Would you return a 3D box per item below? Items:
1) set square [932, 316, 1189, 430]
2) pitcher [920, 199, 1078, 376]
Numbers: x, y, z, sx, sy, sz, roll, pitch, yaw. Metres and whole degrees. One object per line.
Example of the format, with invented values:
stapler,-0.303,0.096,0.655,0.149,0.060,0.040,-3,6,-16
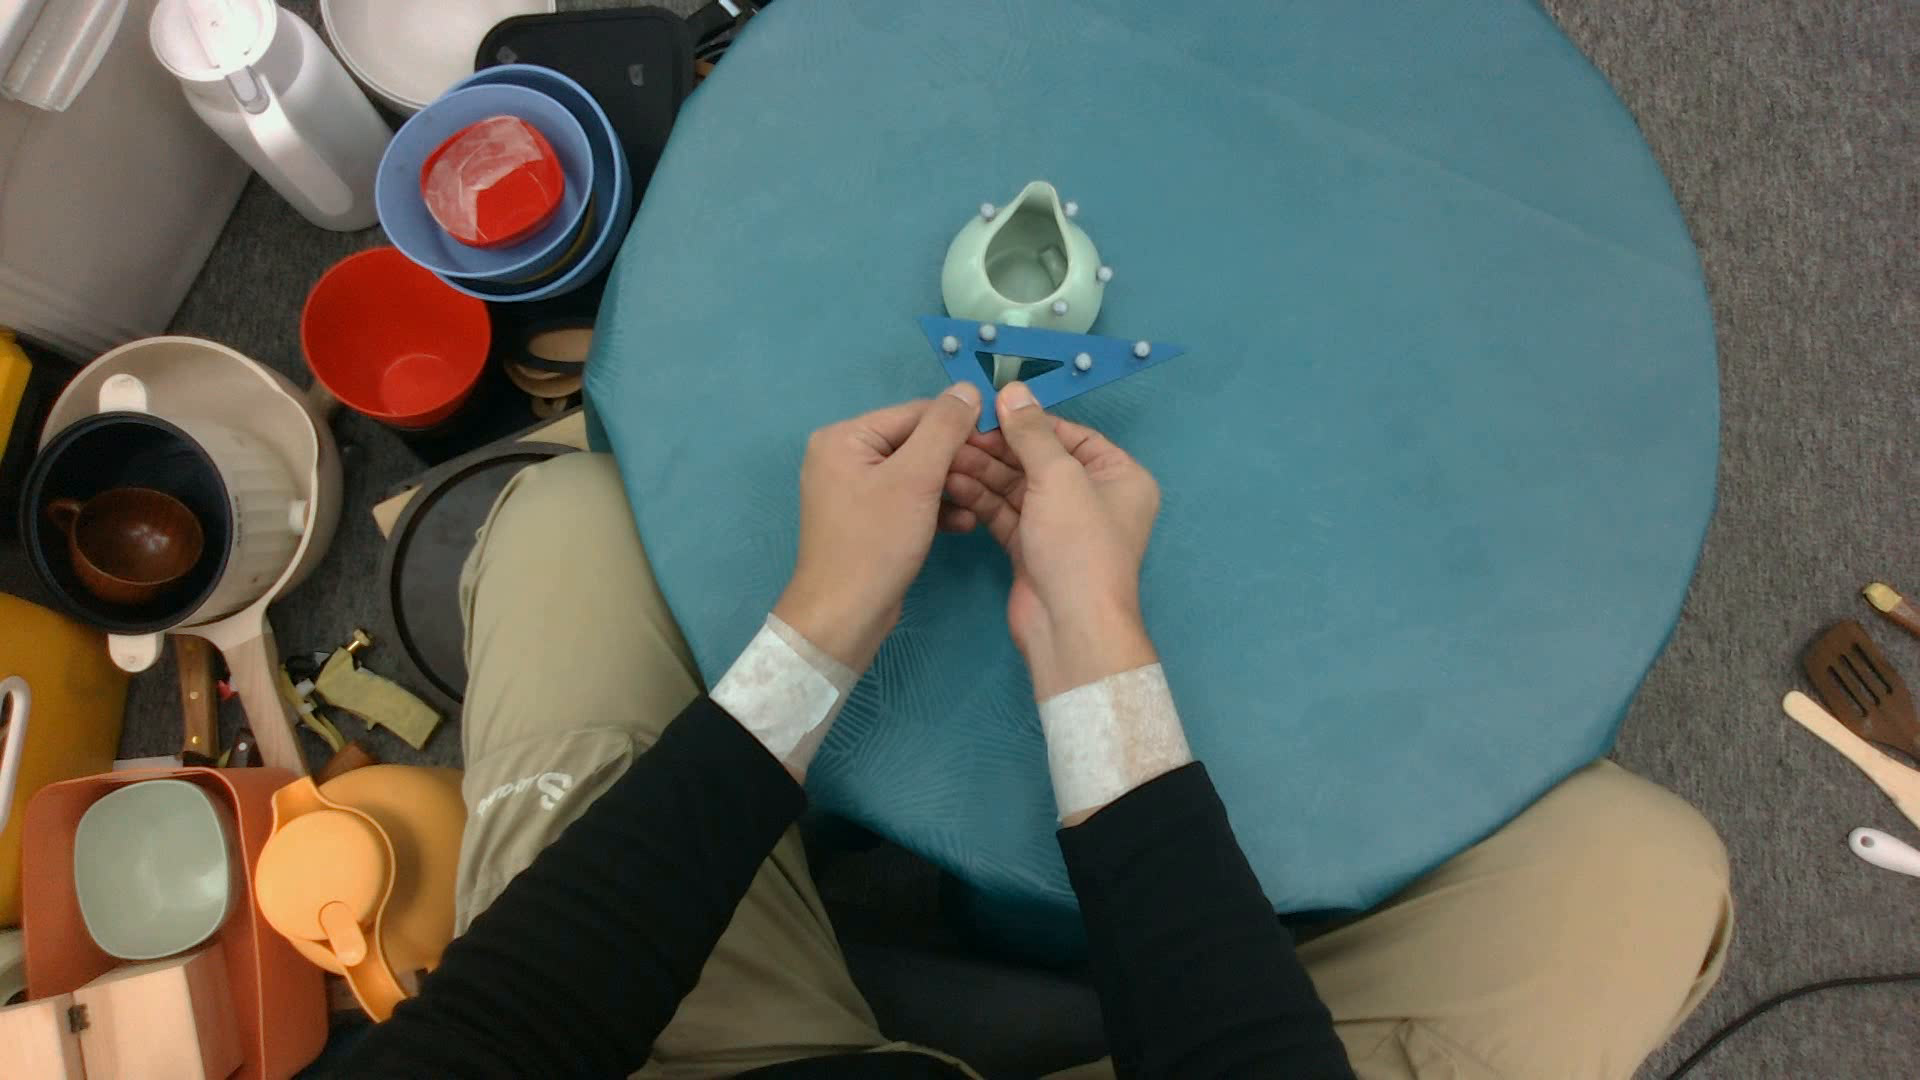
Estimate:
set square,0.048,-0.075,0.673,0.132,0.006,0.061,9,67,-8
pitcher,0.019,-0.124,0.710,0.086,0.060,0.108,28,61,-6
